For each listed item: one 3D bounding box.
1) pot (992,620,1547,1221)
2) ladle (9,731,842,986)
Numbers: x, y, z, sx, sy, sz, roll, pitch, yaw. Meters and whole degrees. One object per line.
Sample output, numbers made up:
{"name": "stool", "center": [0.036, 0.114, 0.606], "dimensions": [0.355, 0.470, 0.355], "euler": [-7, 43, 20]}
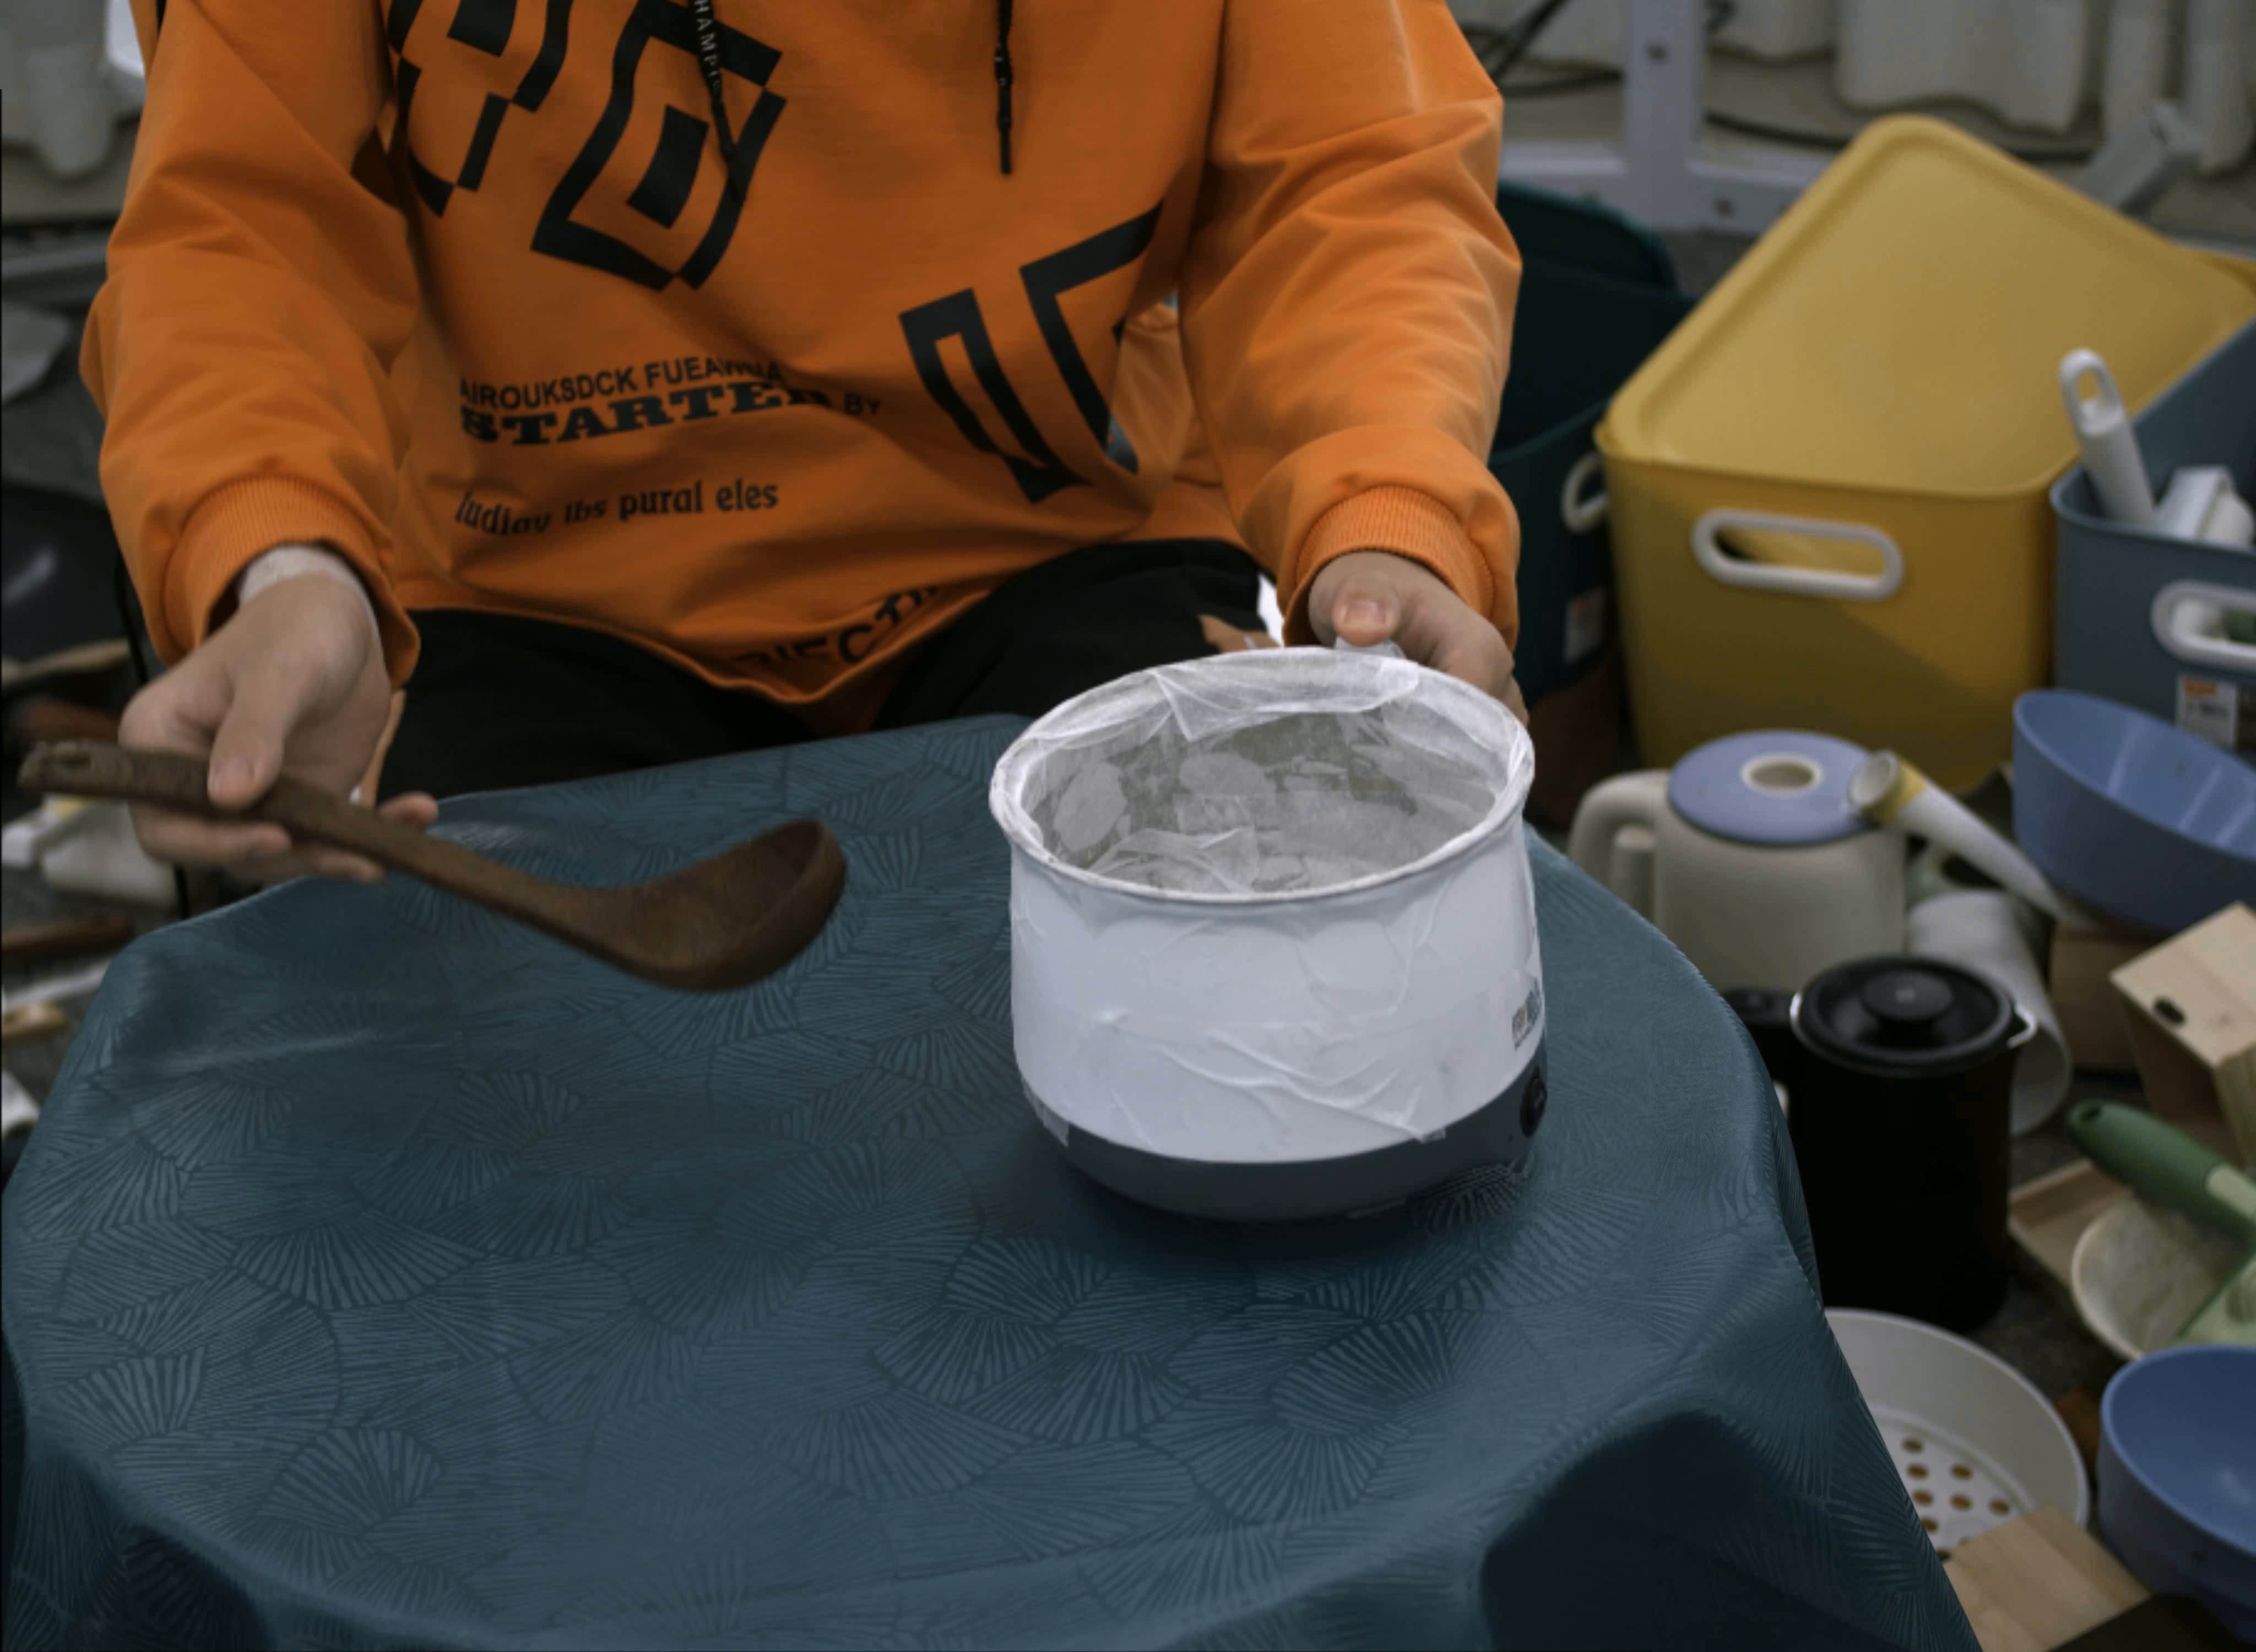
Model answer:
{"name": "pot", "center": [0.057, 0.024, 1.871], "dimensions": [0.177, 0.135, 0.238], "euler": [6, 28, 19]}
{"name": "ladle", "center": [-0.229, -0.008, 1.844], "dimensions": [0.273, 0.070, 0.077], "euler": [17, 29, 0]}
